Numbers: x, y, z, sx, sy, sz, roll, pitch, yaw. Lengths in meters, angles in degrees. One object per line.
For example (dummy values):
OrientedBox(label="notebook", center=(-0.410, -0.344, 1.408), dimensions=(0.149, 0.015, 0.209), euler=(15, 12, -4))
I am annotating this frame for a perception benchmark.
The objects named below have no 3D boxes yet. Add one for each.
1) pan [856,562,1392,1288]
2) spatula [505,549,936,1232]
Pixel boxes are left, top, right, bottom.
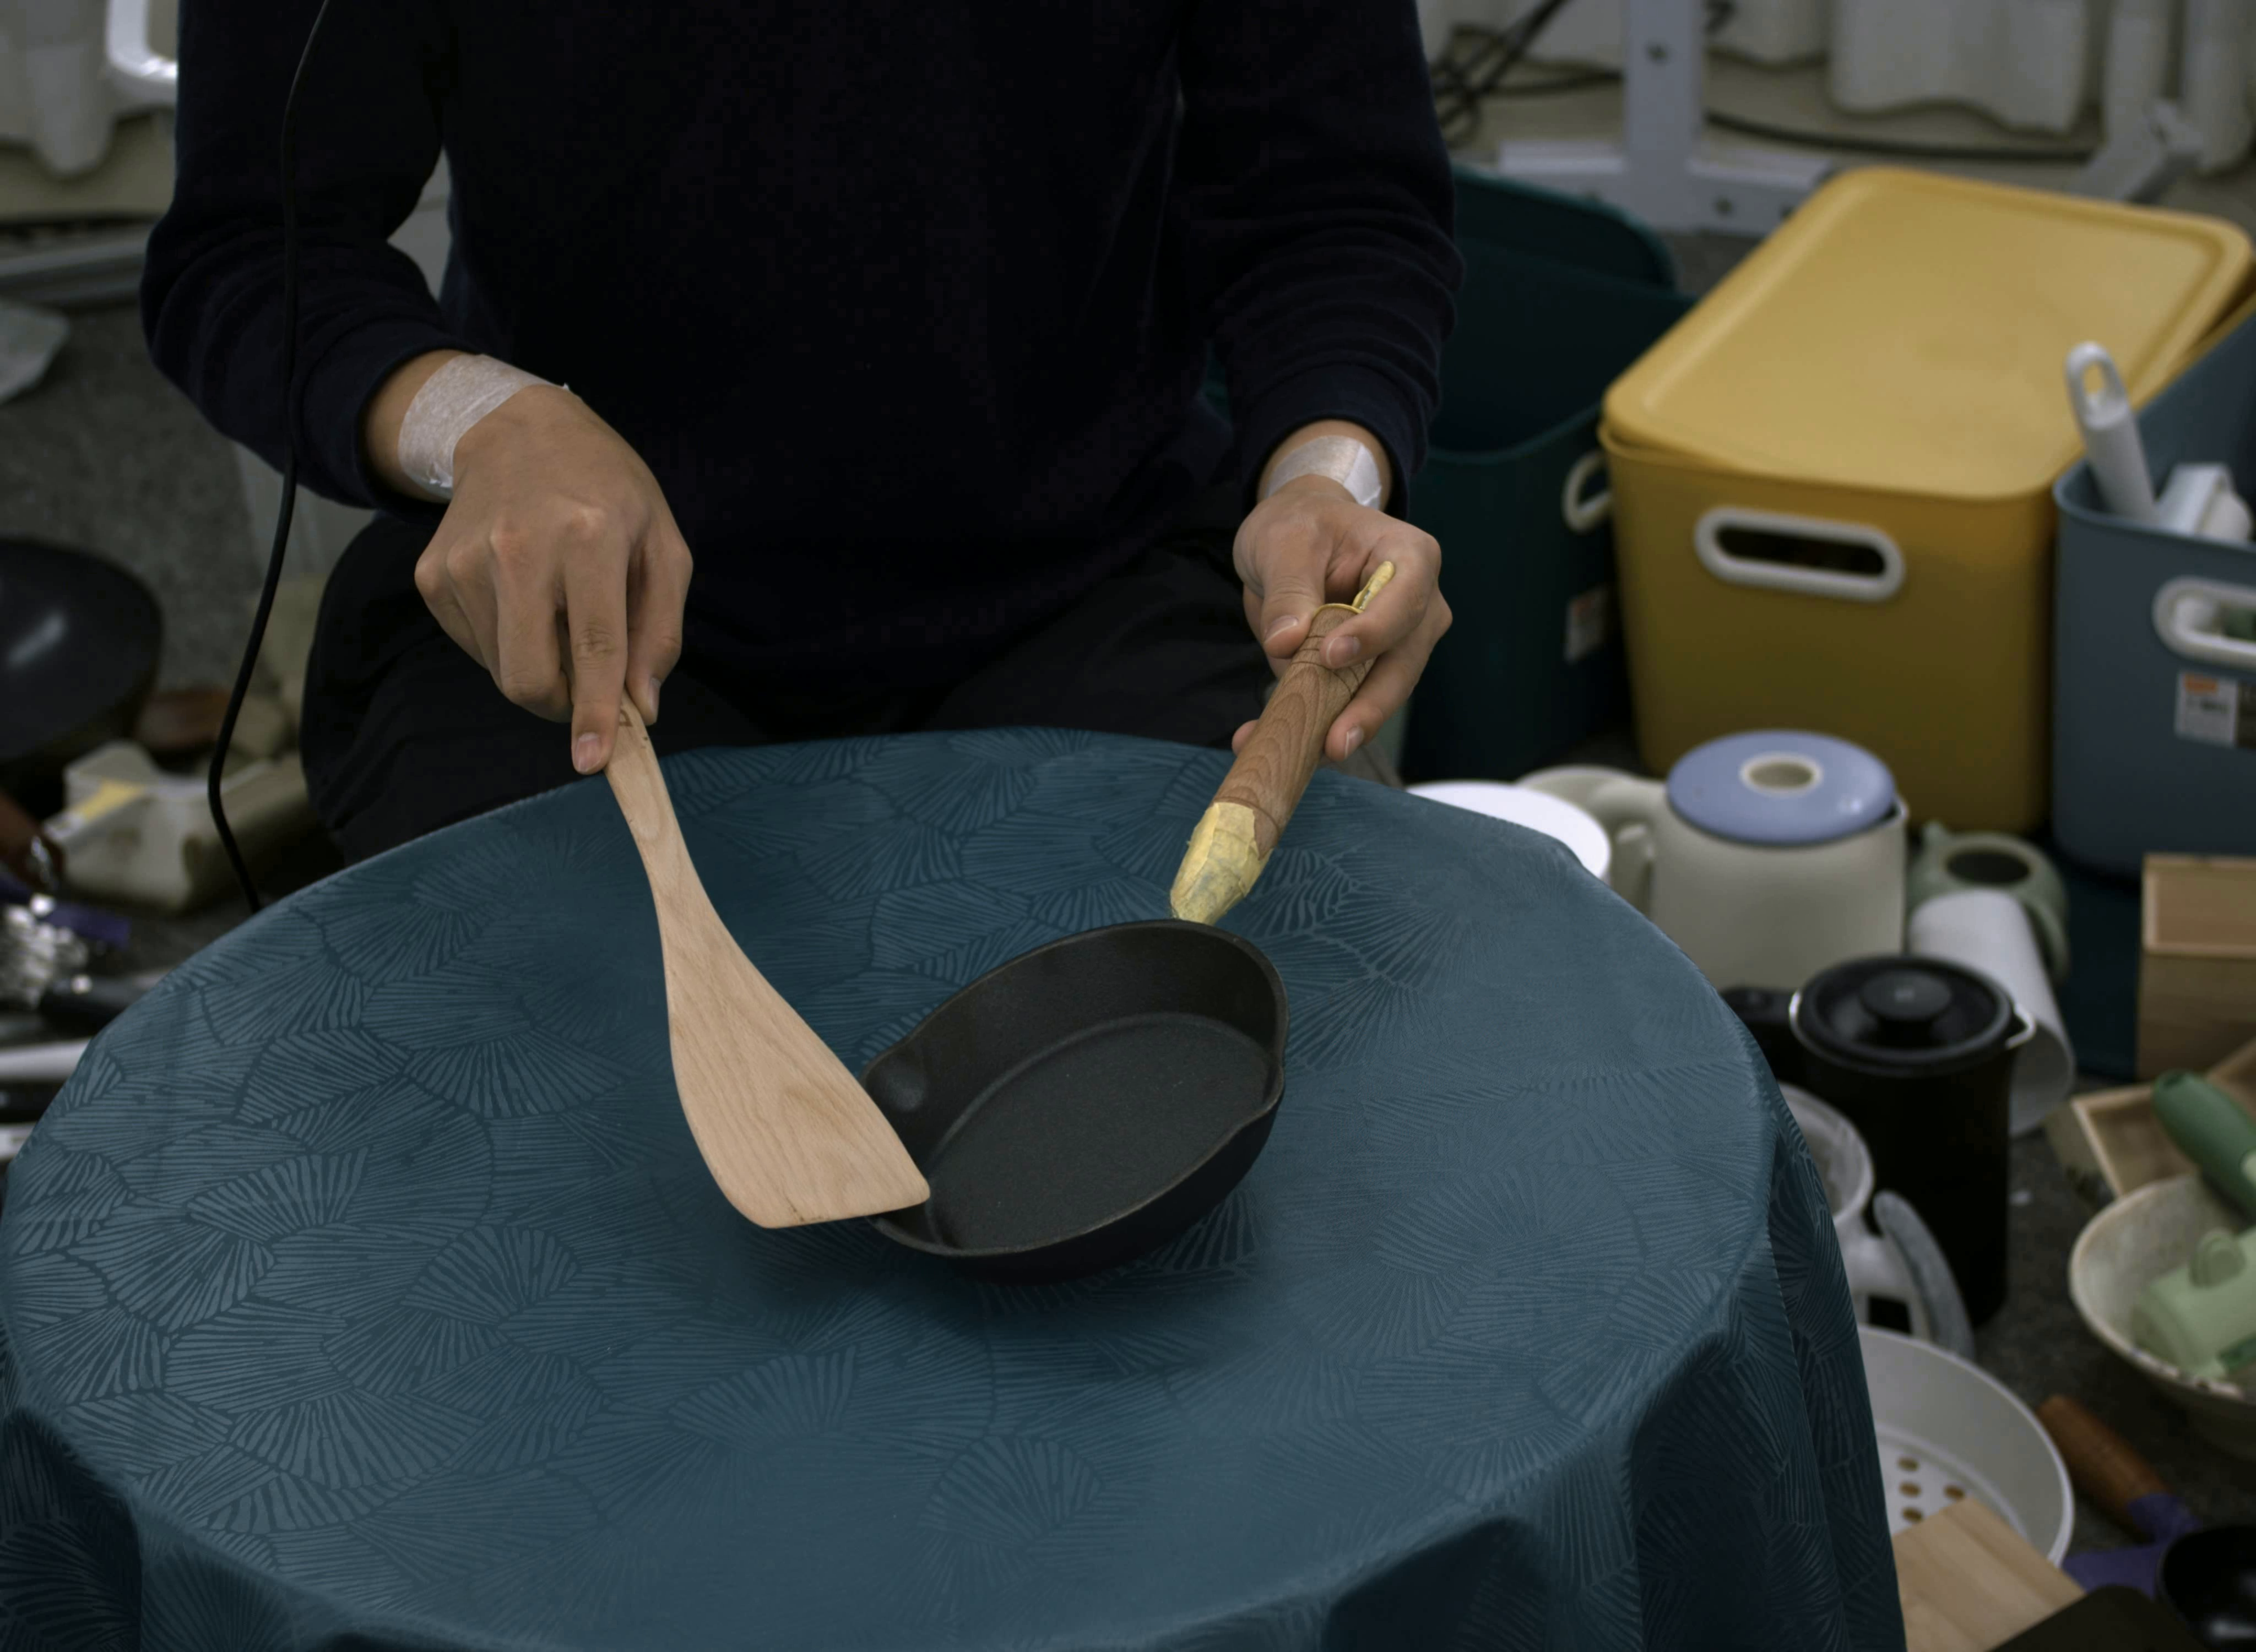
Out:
OrientedBox(label="pan", center=(0.022, 0.032, 1.883), dimensions=(0.167, 0.049, 0.330), euler=(2, 43, 37))
OrientedBox(label="spatula", center=(-0.150, 0.018, 1.901), dimensions=(0.080, 0.016, 0.332), euler=(4, 43, -35))
